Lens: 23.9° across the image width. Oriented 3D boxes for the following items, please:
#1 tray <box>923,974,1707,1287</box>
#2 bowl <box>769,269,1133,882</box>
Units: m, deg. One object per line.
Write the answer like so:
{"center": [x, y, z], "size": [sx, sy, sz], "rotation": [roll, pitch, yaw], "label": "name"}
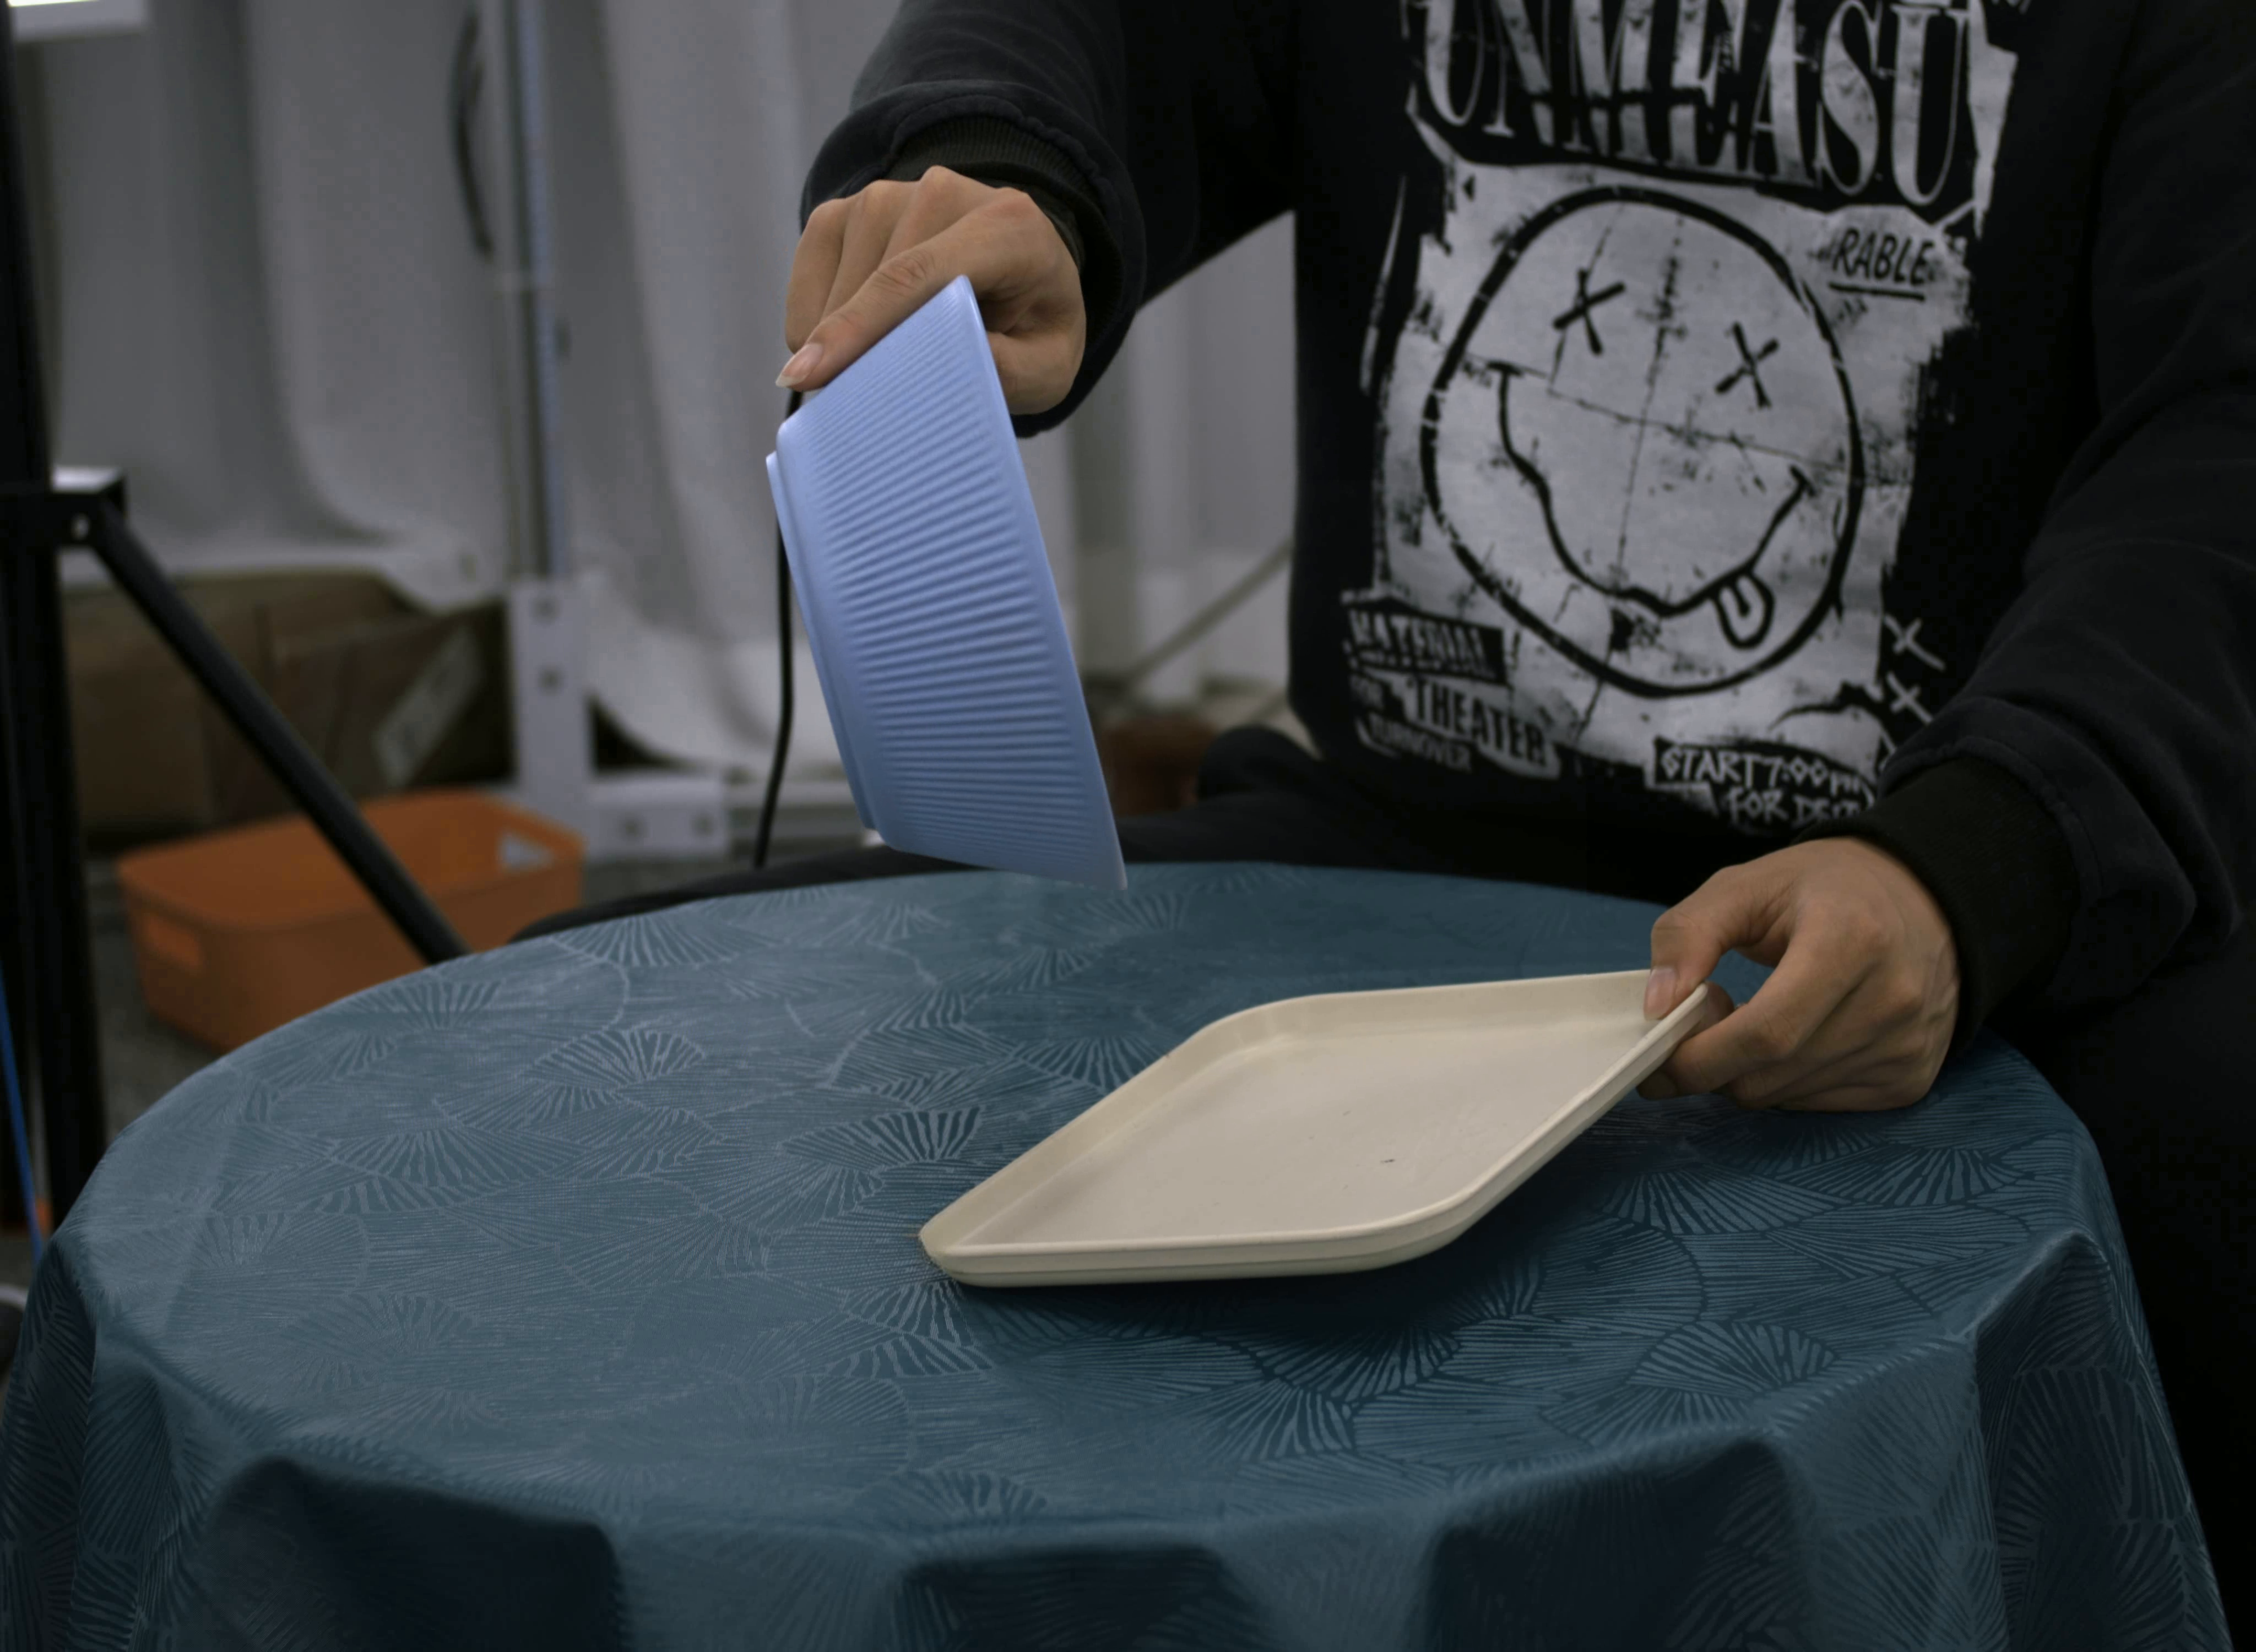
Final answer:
{"center": [0.059, 0.089, 1.539], "size": [0.174, 0.017, 0.236], "rotation": [-4, 14, 29], "label": "tray"}
{"center": [-0.053, -0.061, 1.478], "size": [0.070, 0.175, 0.177], "rotation": [-15, 16, -1], "label": "bowl"}
